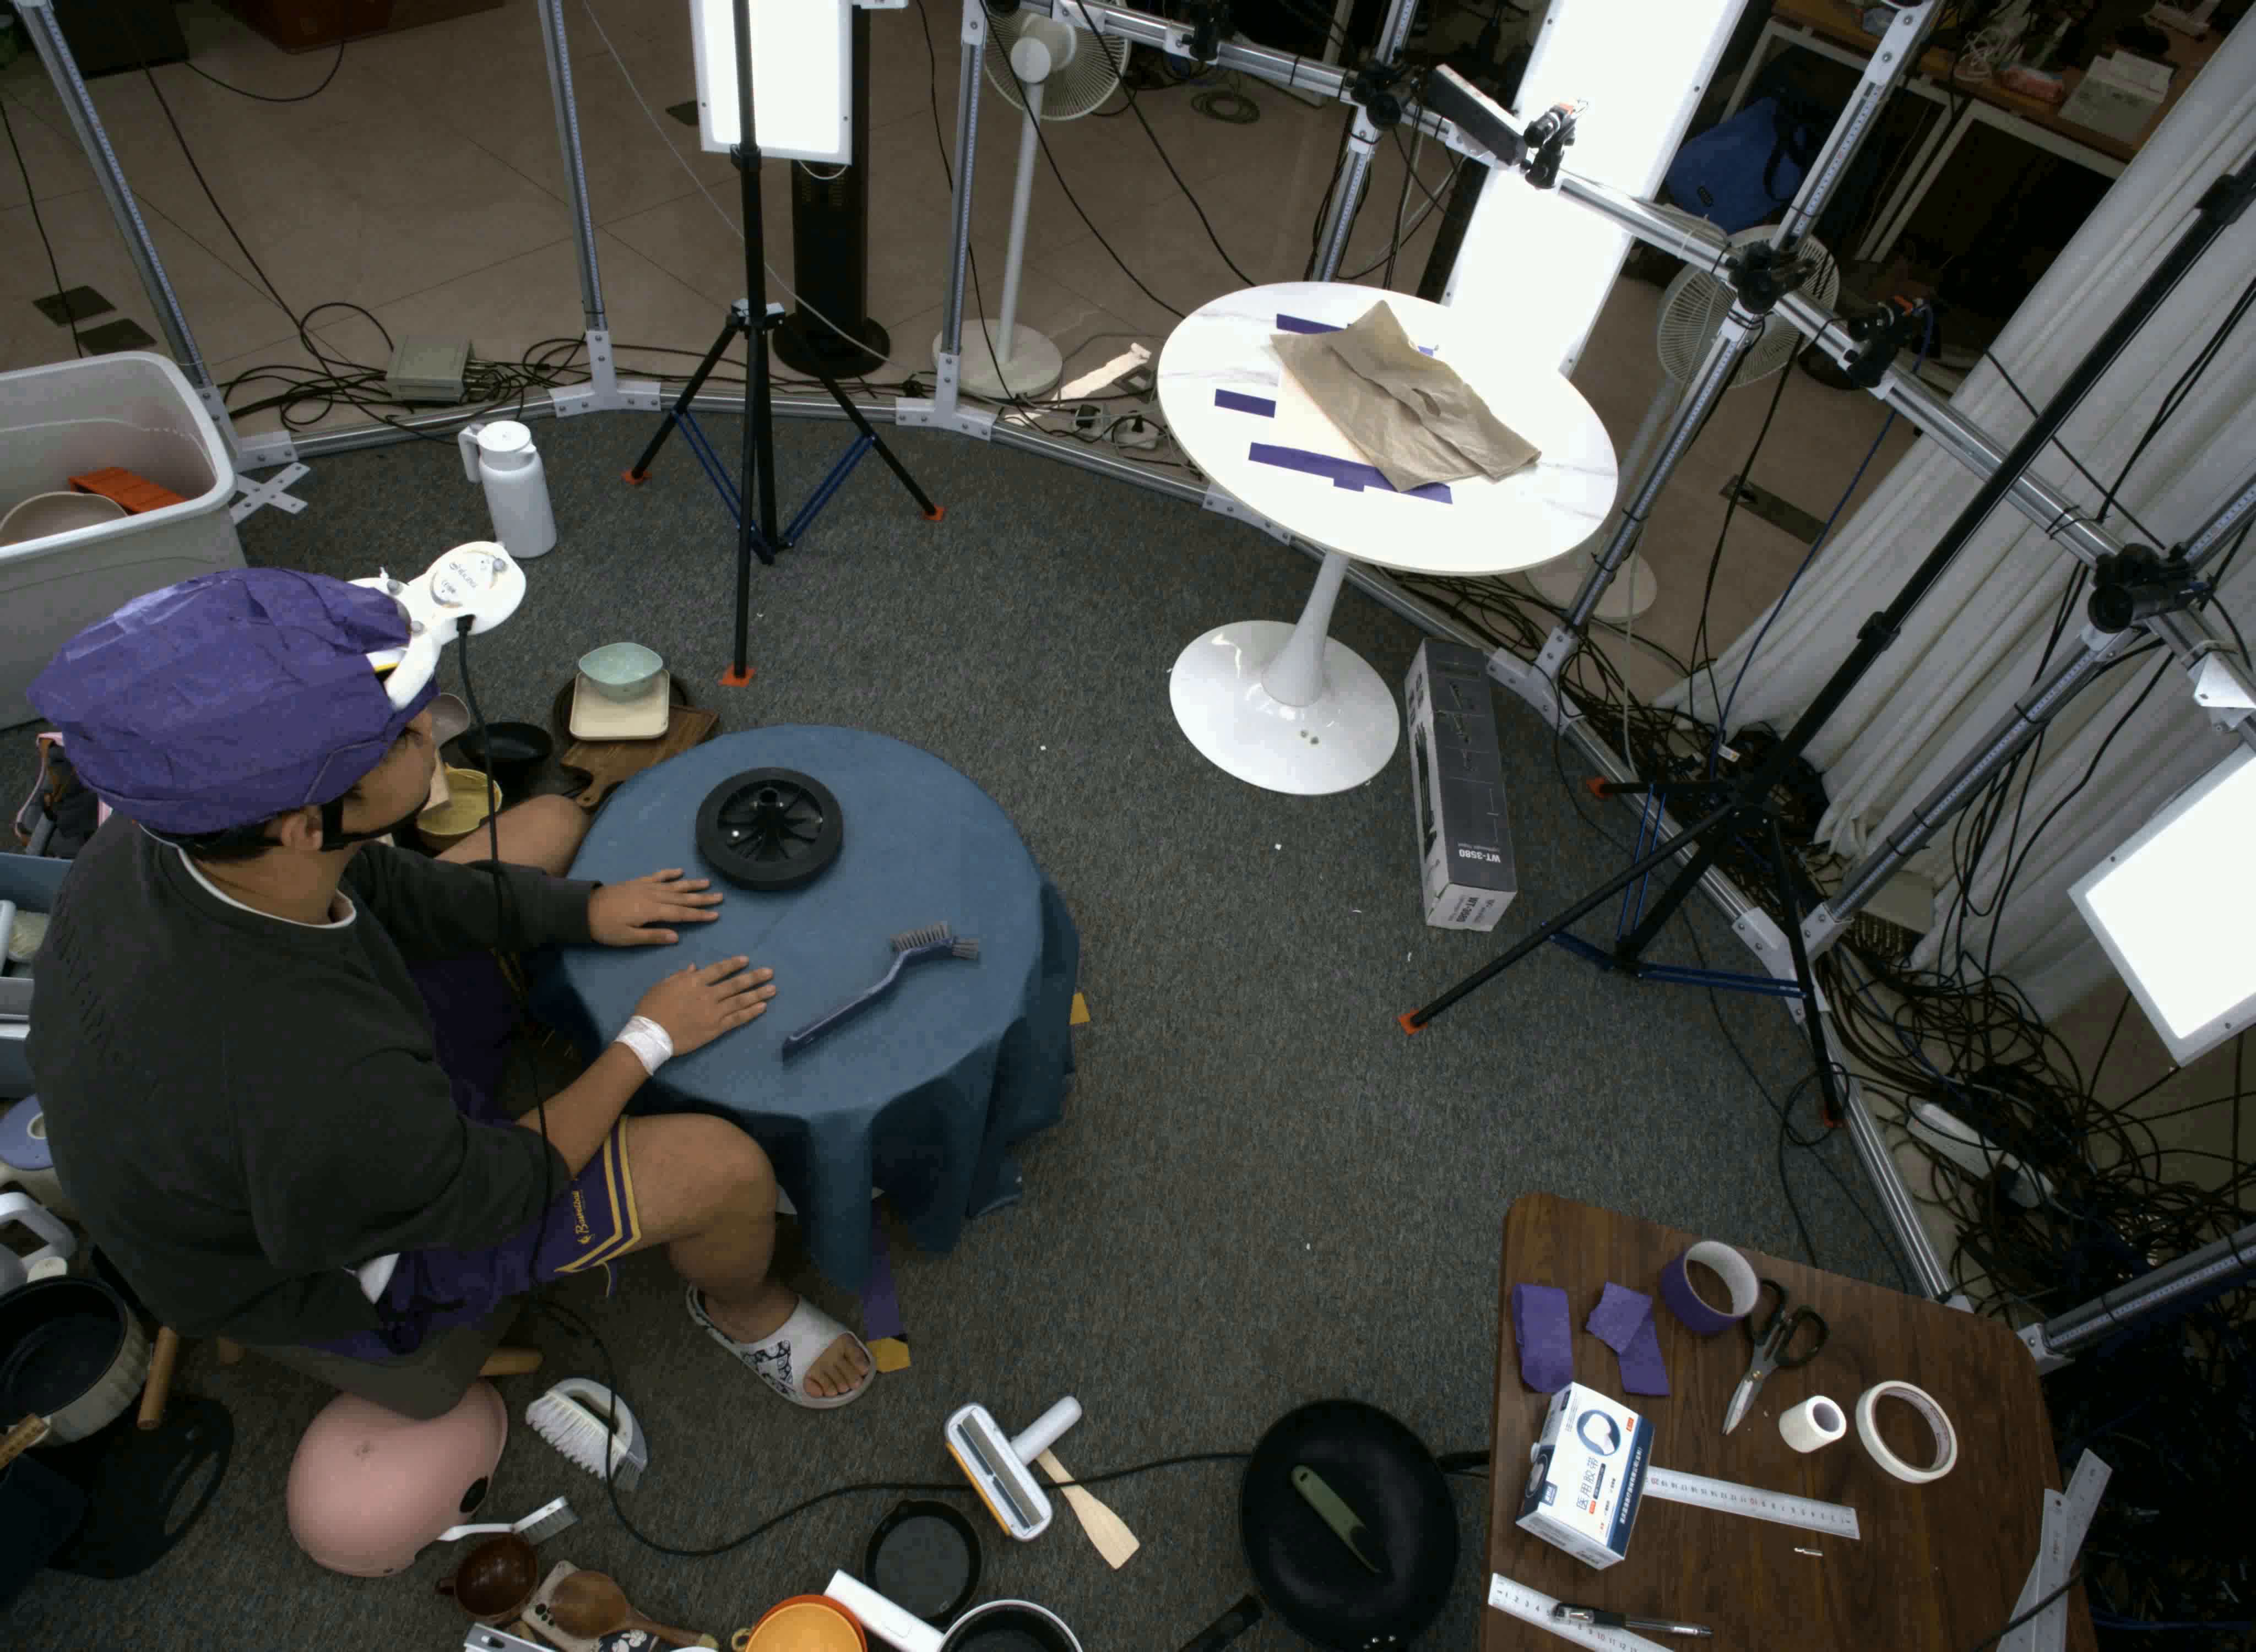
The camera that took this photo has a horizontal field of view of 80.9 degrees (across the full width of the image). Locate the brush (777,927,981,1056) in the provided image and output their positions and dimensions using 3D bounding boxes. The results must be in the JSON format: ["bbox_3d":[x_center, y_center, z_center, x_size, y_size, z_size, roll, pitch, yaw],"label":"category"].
[{"bbox_3d":[-0.304,0.204,1.586,0.094,0.034,0.273,39,53,15],"label":"brush"}]

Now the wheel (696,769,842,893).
[{"bbox_3d":[-0.465,-0.011,1.677,0.187,0.080,0.187,10,53,-7],"label":"wheel"}]
